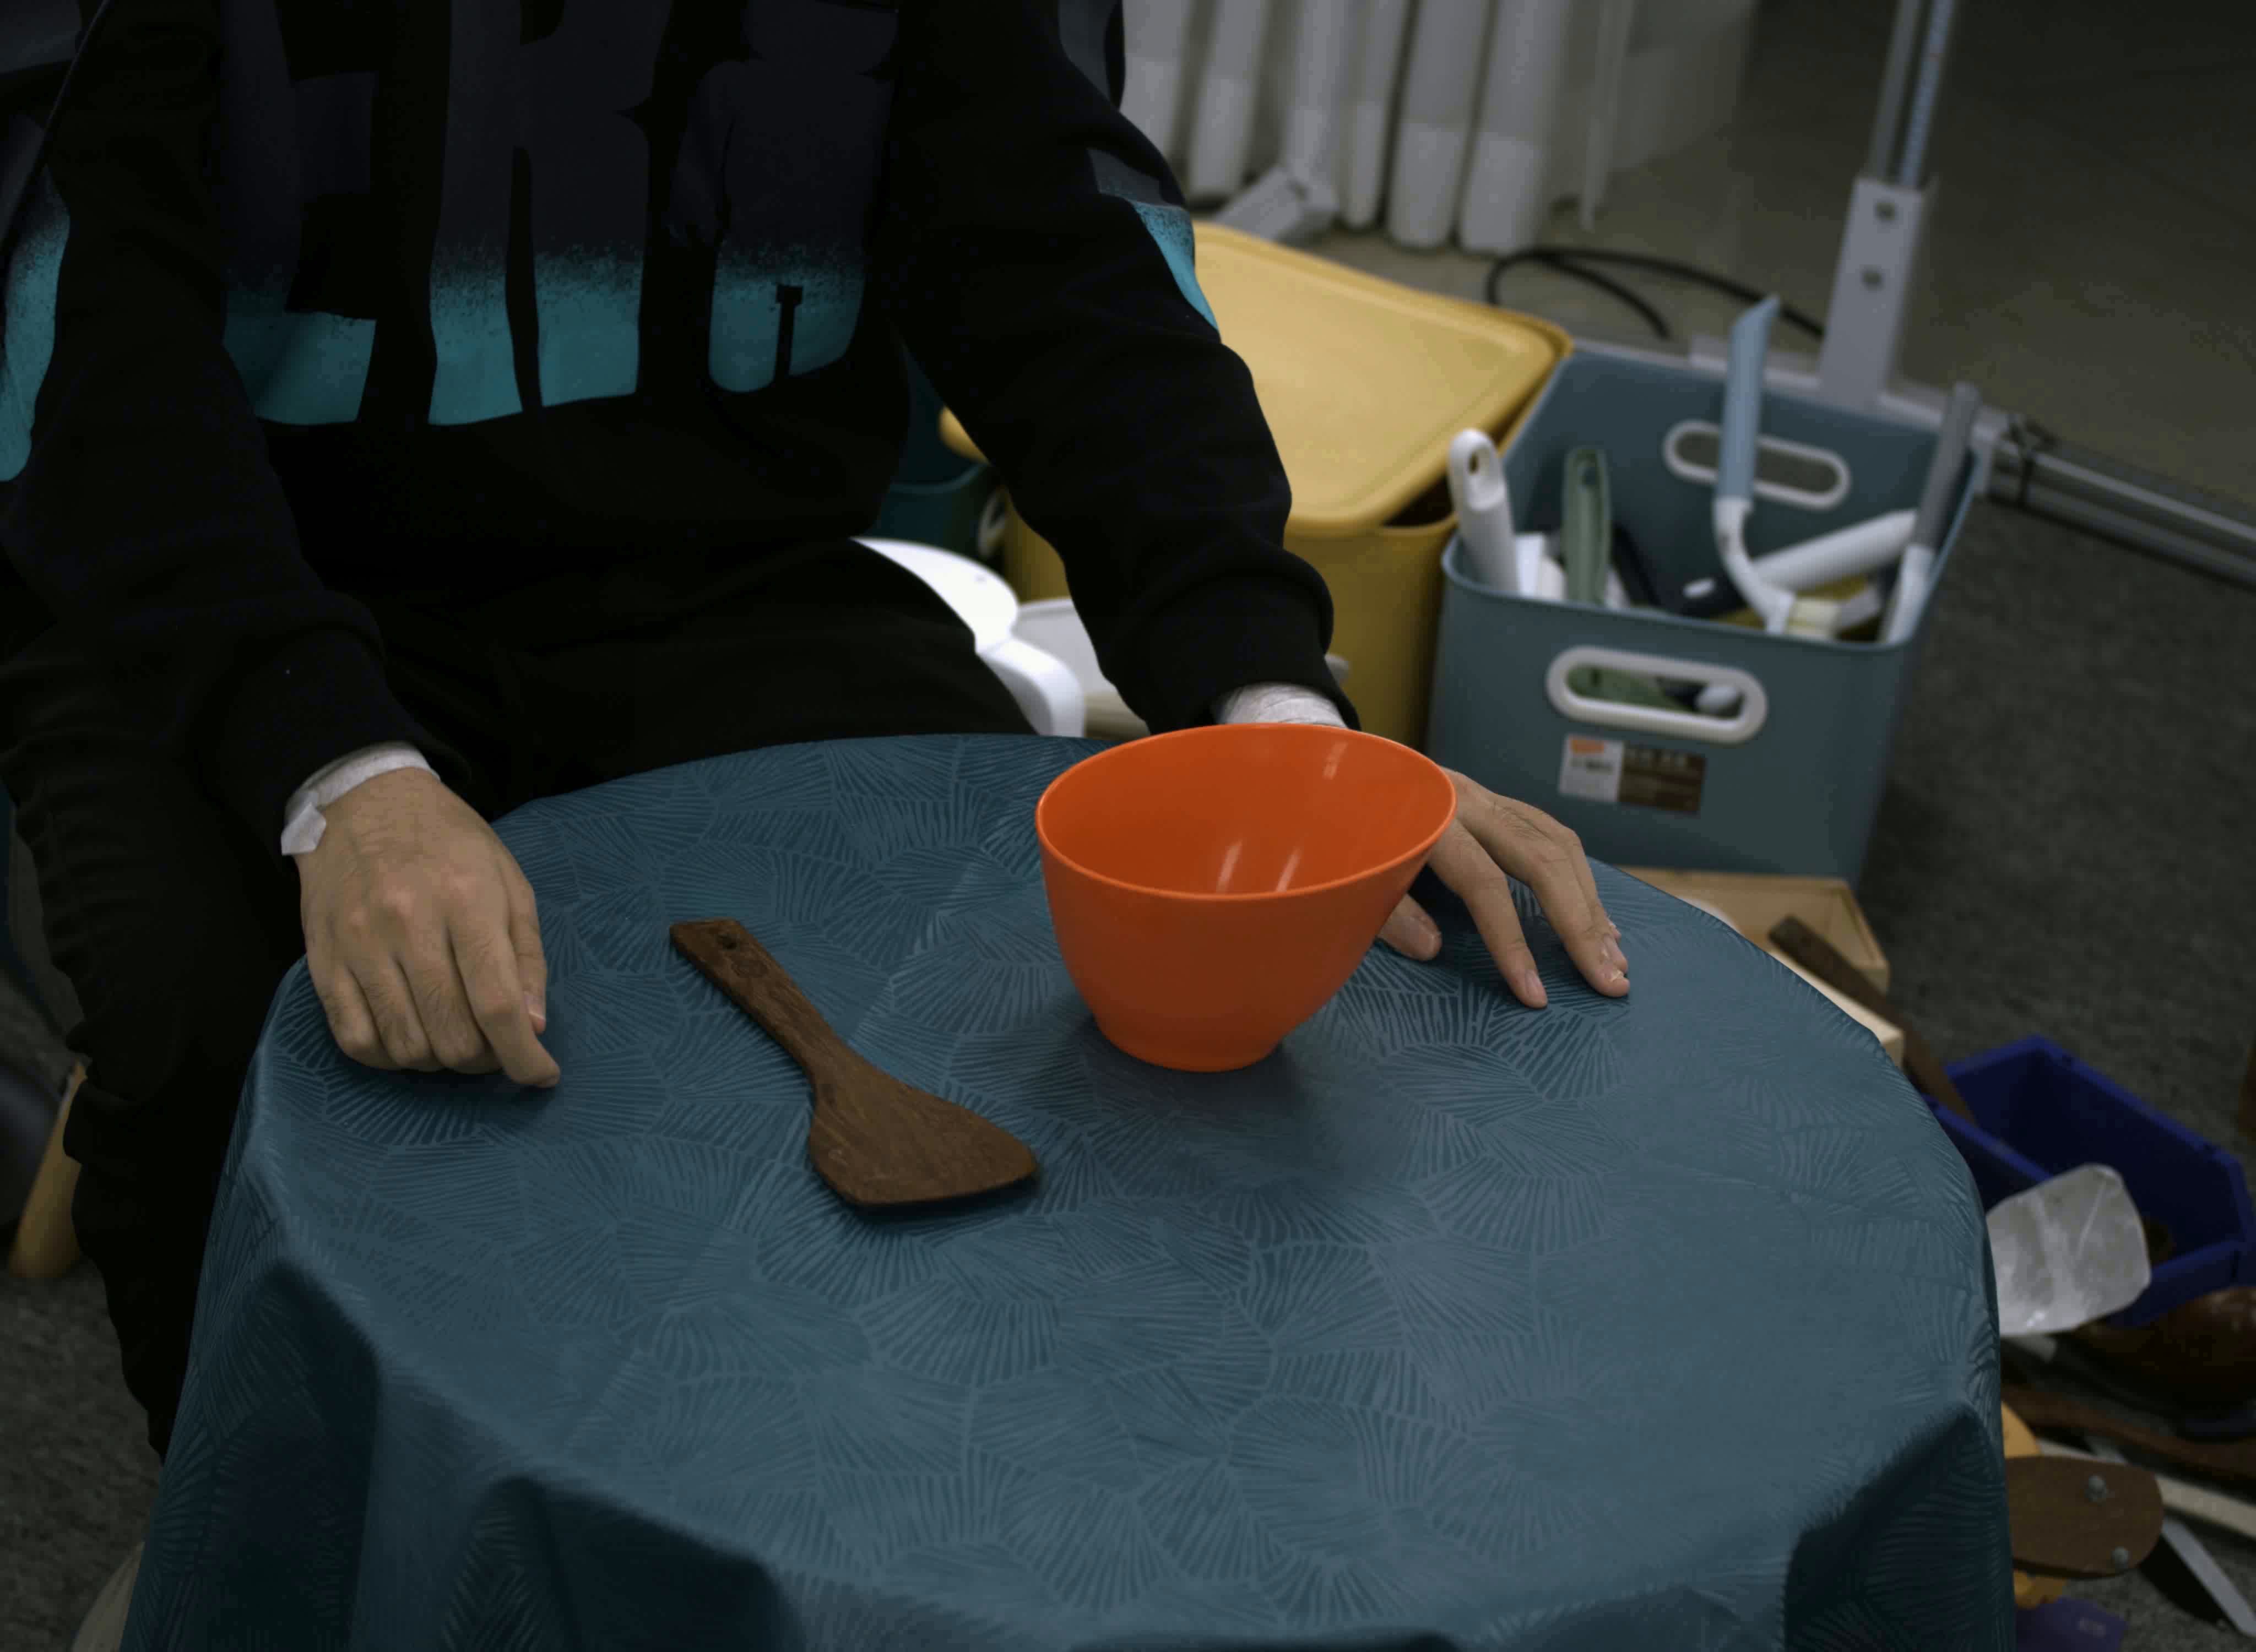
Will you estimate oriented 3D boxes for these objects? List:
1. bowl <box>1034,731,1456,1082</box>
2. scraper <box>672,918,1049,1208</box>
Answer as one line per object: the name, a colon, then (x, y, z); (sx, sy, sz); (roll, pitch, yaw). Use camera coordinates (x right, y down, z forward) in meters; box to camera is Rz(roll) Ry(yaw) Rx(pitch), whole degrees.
bowl: (0.037, 0.032, 1.881); (0.147, 0.104, 0.149); (4, 26, -2)
scraper: (-0.105, 0.081, 1.852); (0.075, 0.011, 0.213); (-7, 29, -29)
